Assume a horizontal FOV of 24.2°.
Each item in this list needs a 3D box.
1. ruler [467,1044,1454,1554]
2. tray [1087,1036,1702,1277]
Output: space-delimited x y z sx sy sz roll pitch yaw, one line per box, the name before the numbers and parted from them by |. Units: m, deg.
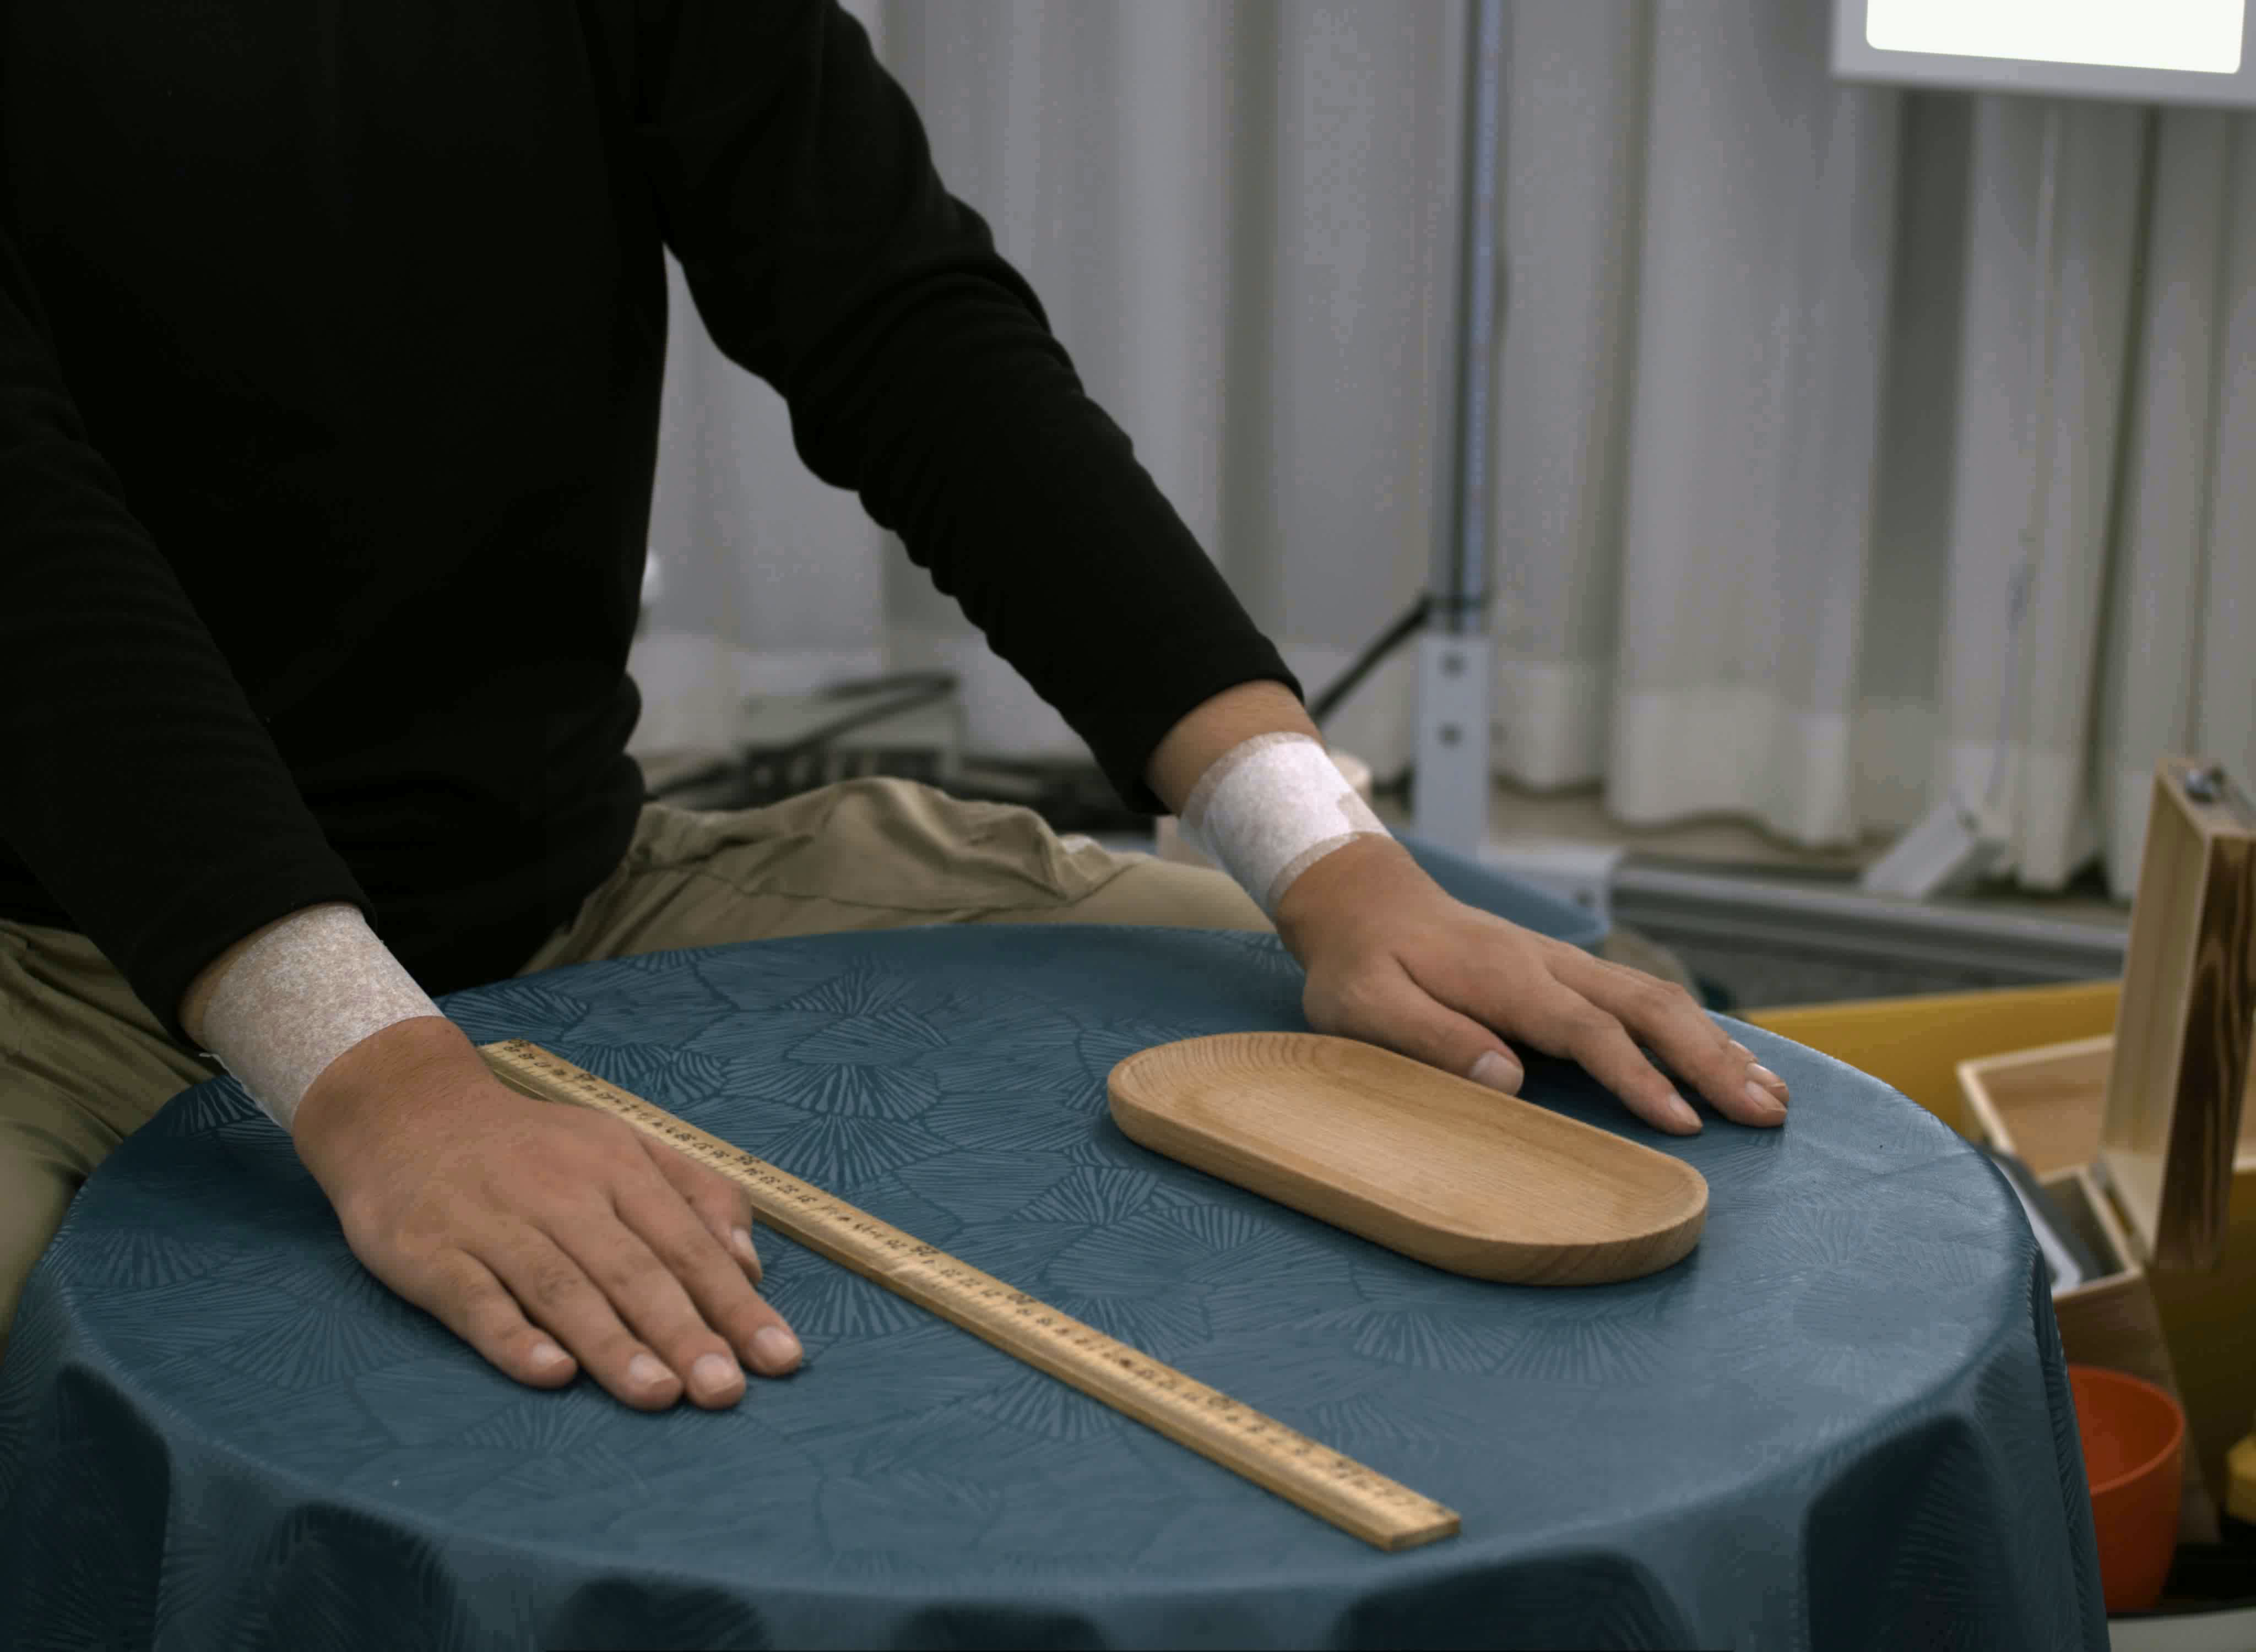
ruler | -0.066 0.129 1.549 0.027 0.006 0.494 -8 18 -34
tray | 0.080 0.101 1.634 0.102 0.020 0.228 -10 17 -40
